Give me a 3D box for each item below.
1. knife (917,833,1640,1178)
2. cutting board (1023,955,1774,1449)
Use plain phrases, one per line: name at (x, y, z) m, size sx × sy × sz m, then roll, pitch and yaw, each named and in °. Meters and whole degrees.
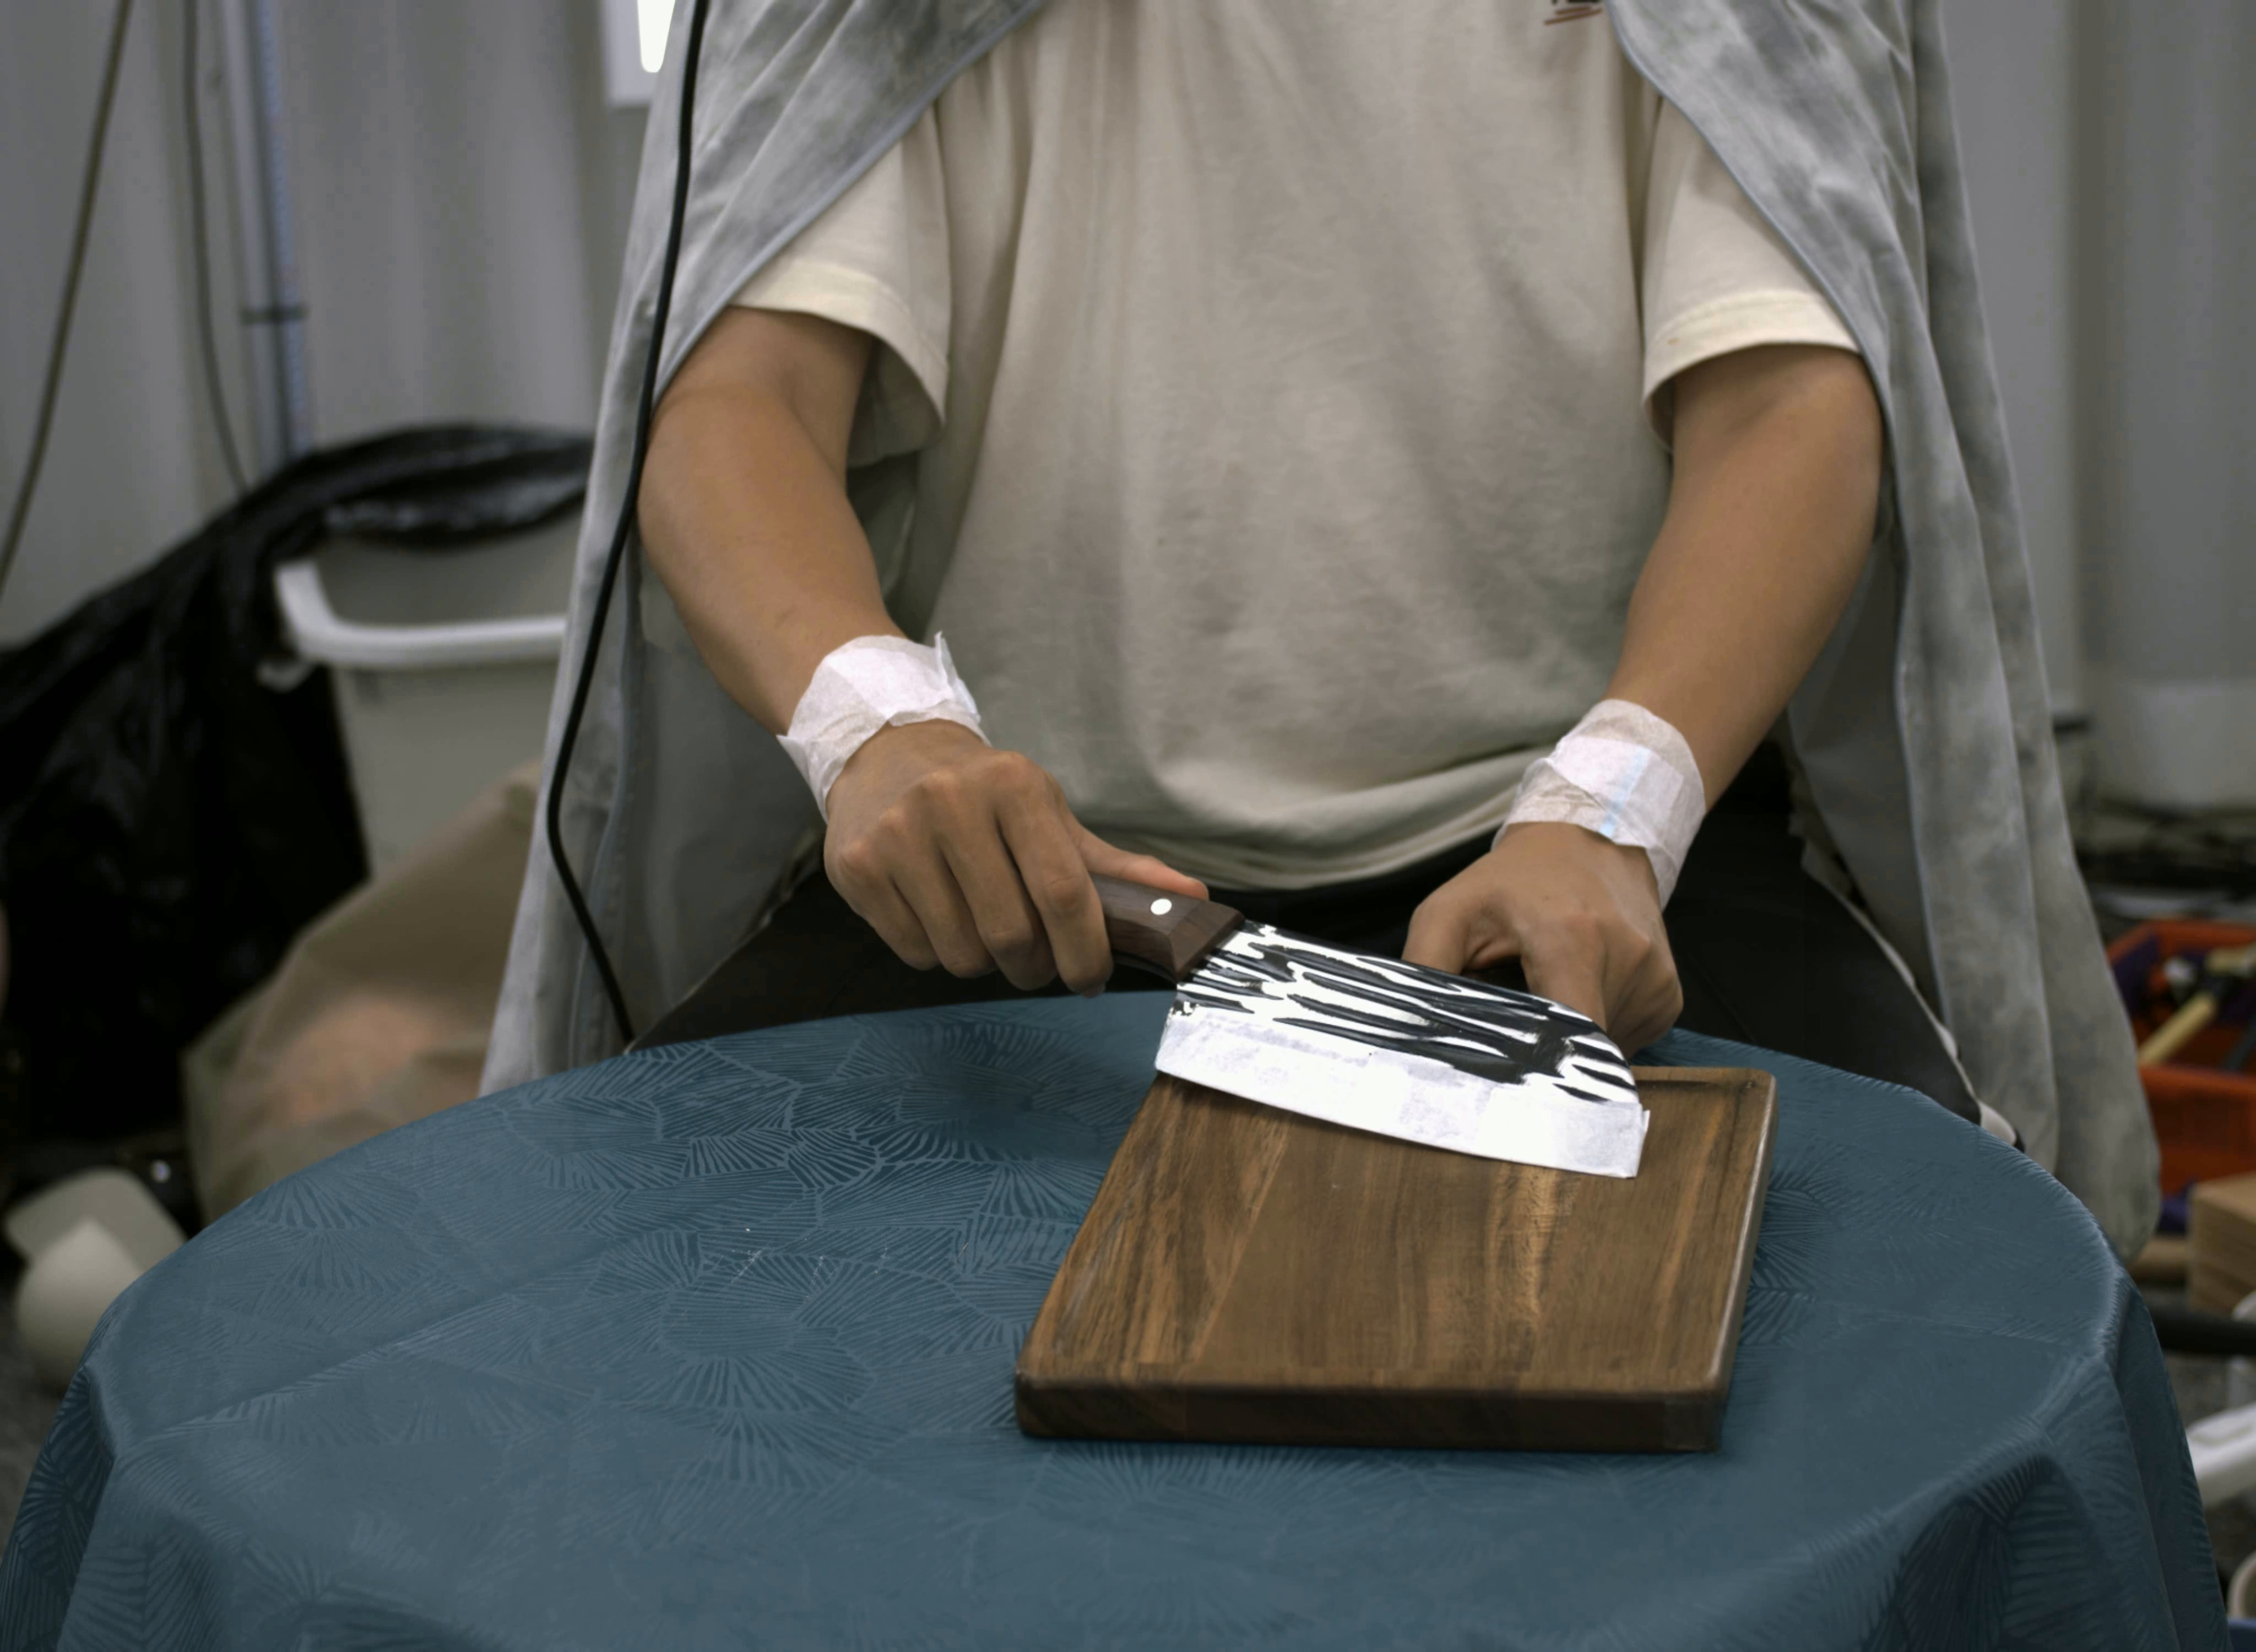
knife at (0.040, 0.057, 1.729) m, size 0.301 × 0.023 × 0.068 m, roll 15°, pitch 51°, yaw 34°
cutting board at (0.094, 0.107, 1.655) m, size 0.201 × 0.023 × 0.354 m, roll 0°, pitch 18°, yaw 10°
